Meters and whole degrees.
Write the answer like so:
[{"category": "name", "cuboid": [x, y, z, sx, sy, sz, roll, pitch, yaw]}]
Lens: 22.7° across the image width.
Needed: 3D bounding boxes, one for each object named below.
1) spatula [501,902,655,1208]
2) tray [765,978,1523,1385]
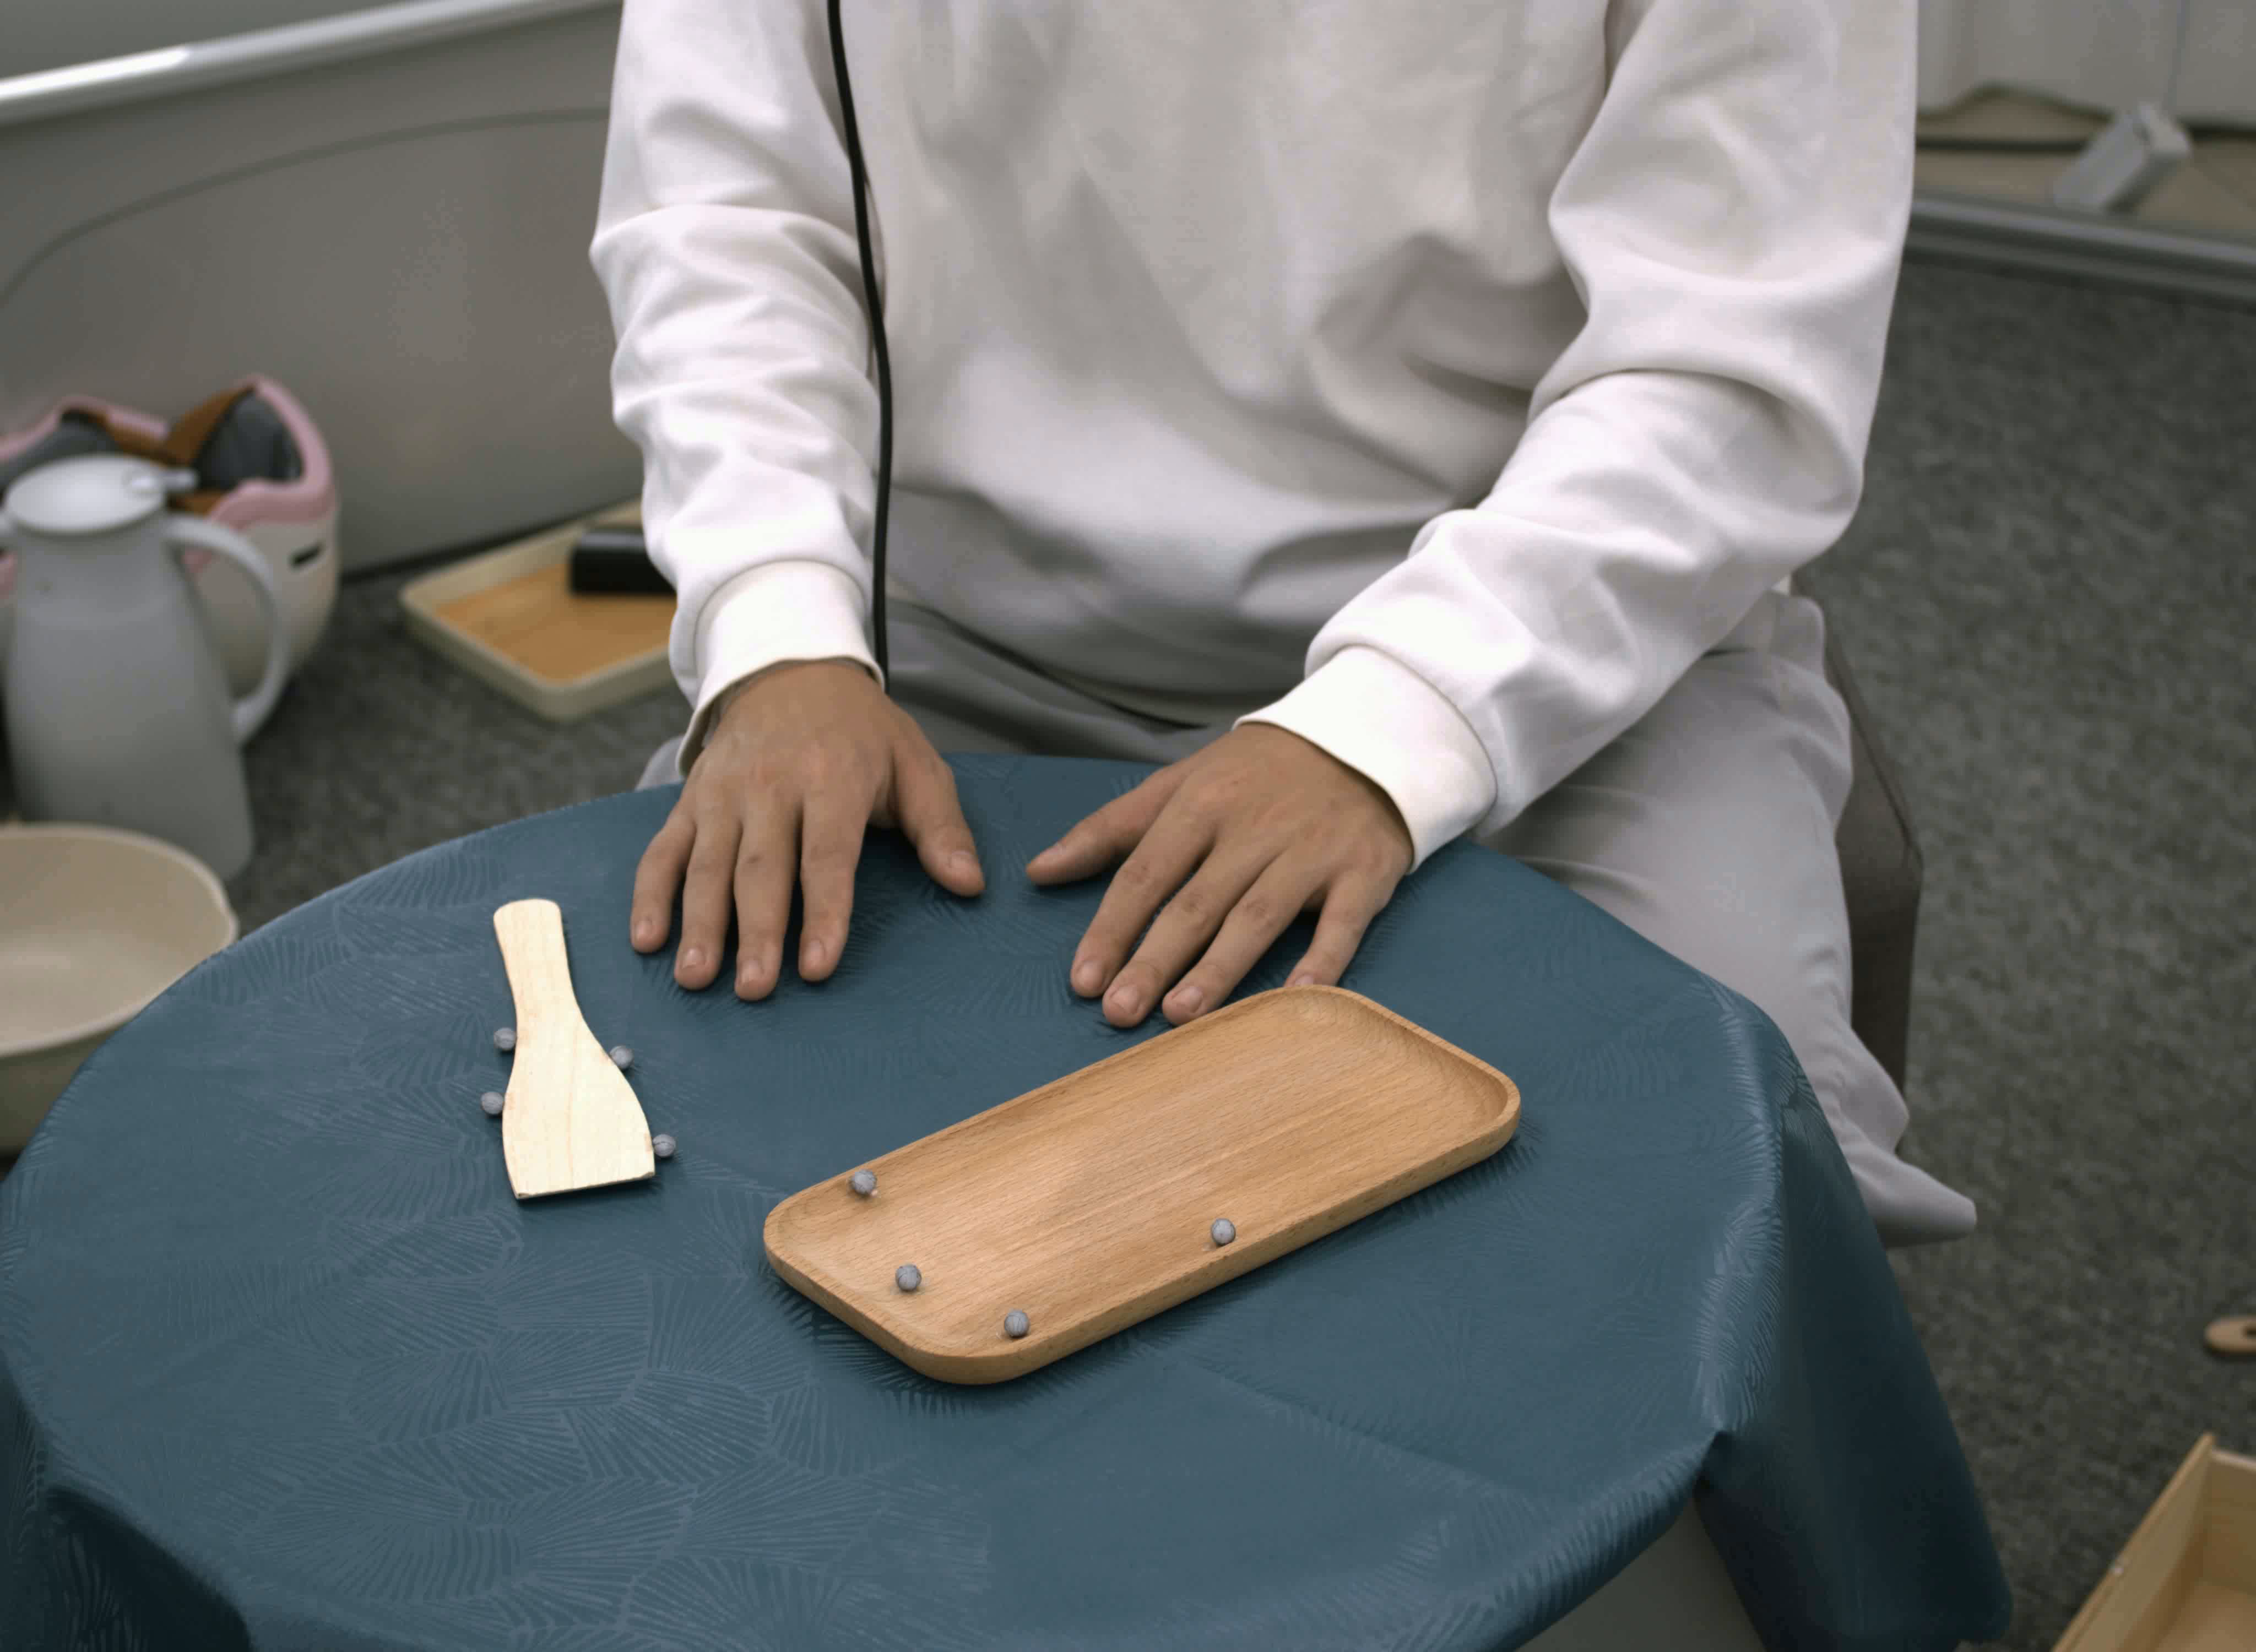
[{"category": "spatula", "cuboid": [-0.199, 0.077, 1.959, 0.050, 0.005, 0.210, -6, 28, -8]}, {"category": "tray", "cuboid": [0.007, 0.115, 1.856, 0.253, 0.022, 0.131, -21, 35, -33]}]
